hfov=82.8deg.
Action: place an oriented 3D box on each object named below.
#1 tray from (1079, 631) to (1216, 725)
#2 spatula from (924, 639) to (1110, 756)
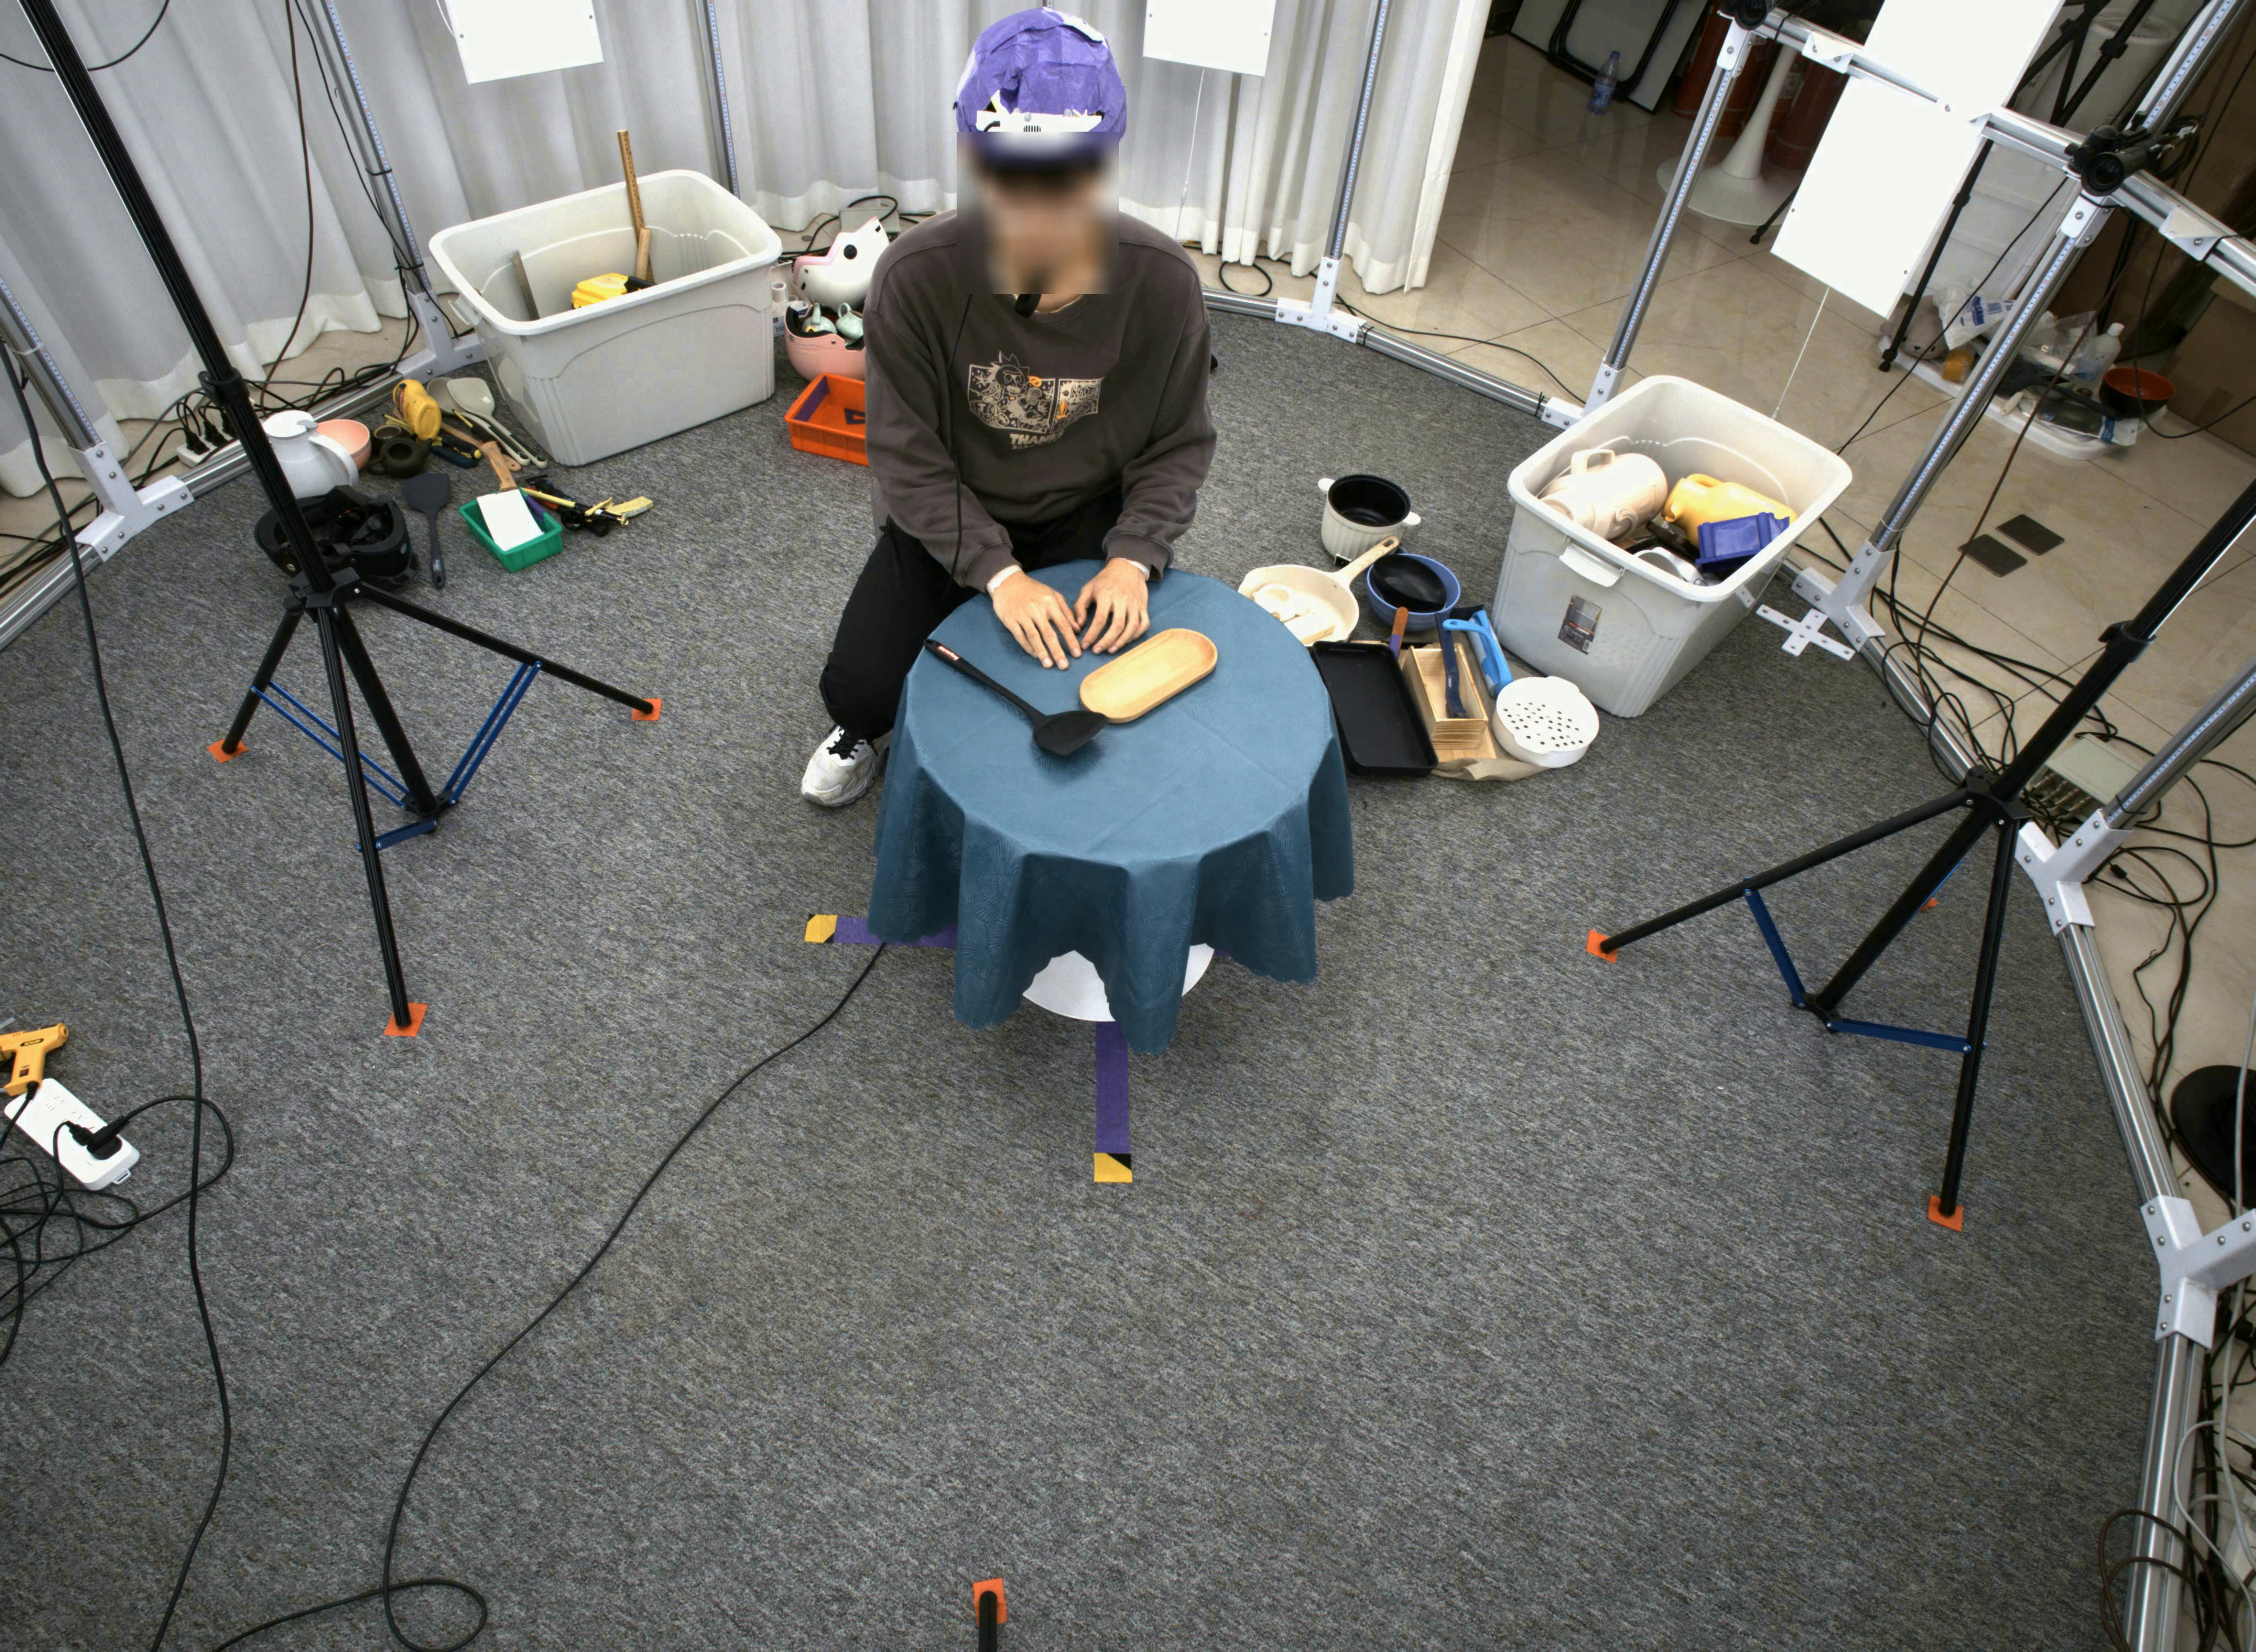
[{"bbox_3d":[0.030,-0.215,1.844,0.233,0.020,0.103,-34,58,-27],"label":"tray"},{"bbox_3d":[-0.172,-0.191,1.798,0.330,0.039,0.101,36,55,25],"label":"spatula"}]
